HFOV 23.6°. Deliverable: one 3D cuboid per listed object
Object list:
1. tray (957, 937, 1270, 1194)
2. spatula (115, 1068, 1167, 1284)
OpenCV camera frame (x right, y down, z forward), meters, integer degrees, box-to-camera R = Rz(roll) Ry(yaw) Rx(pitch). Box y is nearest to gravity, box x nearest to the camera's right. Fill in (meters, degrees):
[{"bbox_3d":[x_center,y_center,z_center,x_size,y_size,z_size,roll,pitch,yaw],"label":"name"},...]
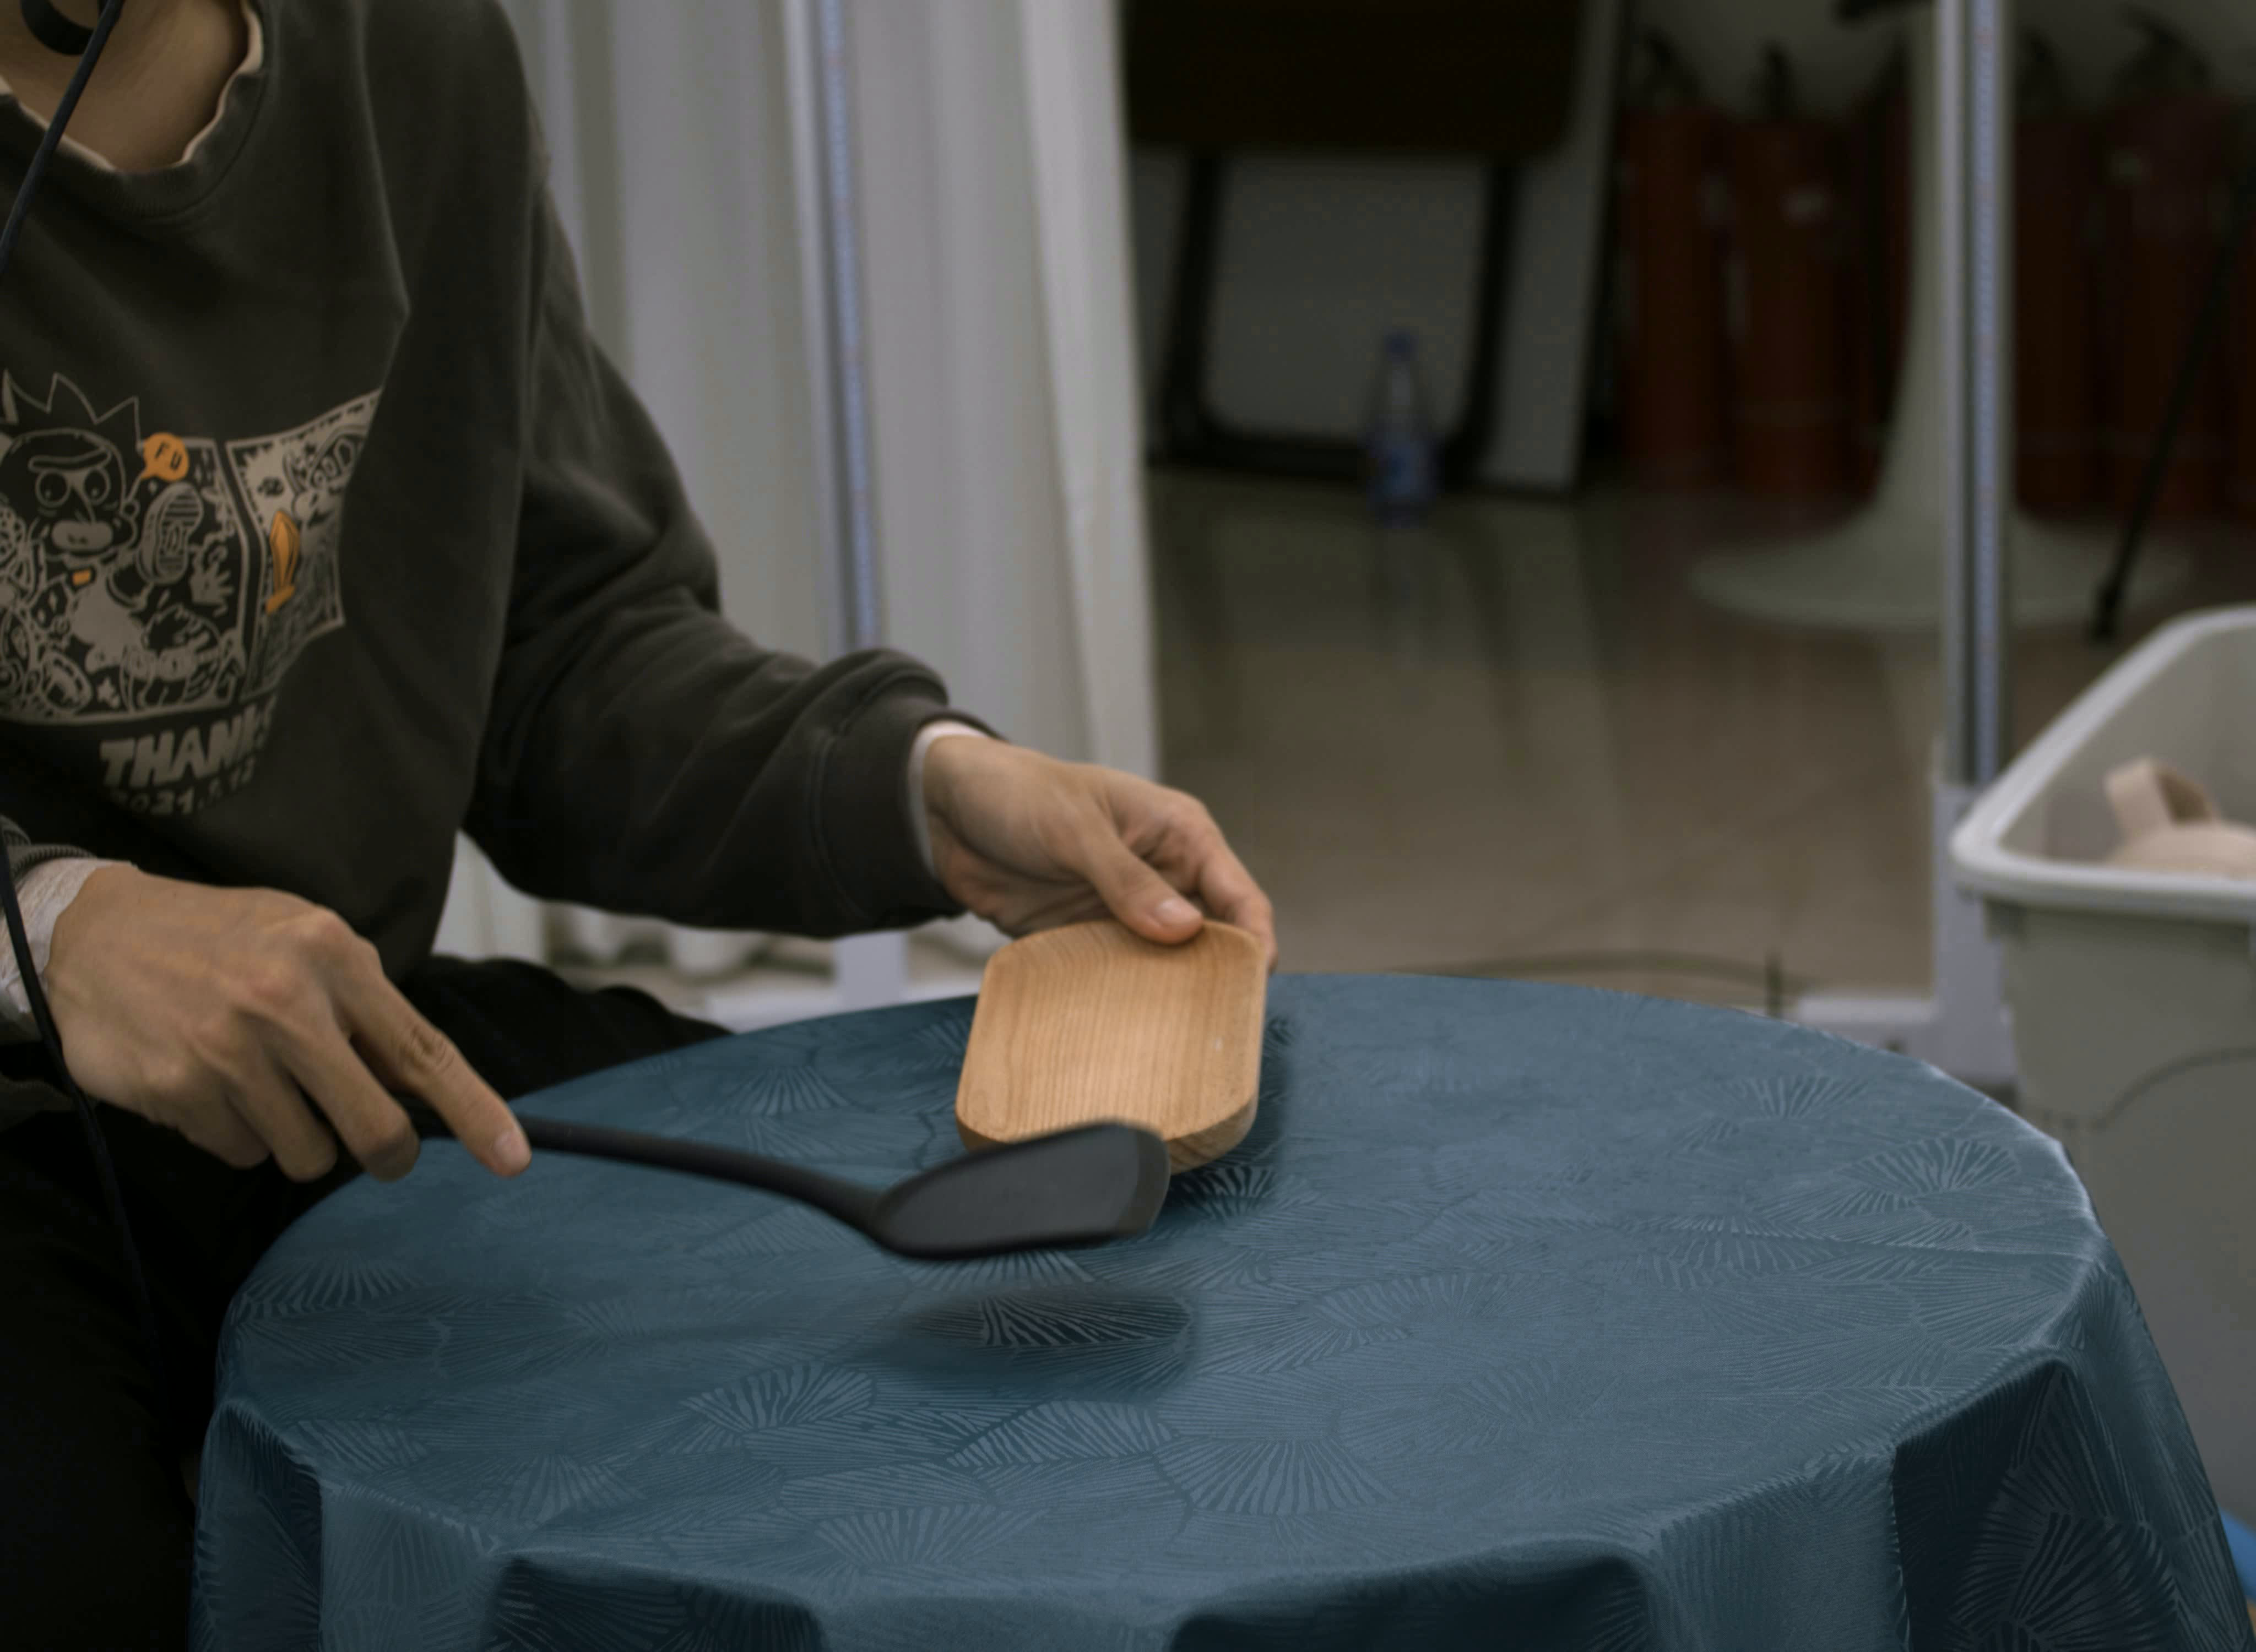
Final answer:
[{"bbox_3d":[-0.003,0.080,1.841,0.100,0.020,0.231,-5,18,5],"label":"tray"},{"bbox_3d":[-0.149,0.098,1.653,0.322,0.041,0.099,12,15,2],"label":"spatula"}]
